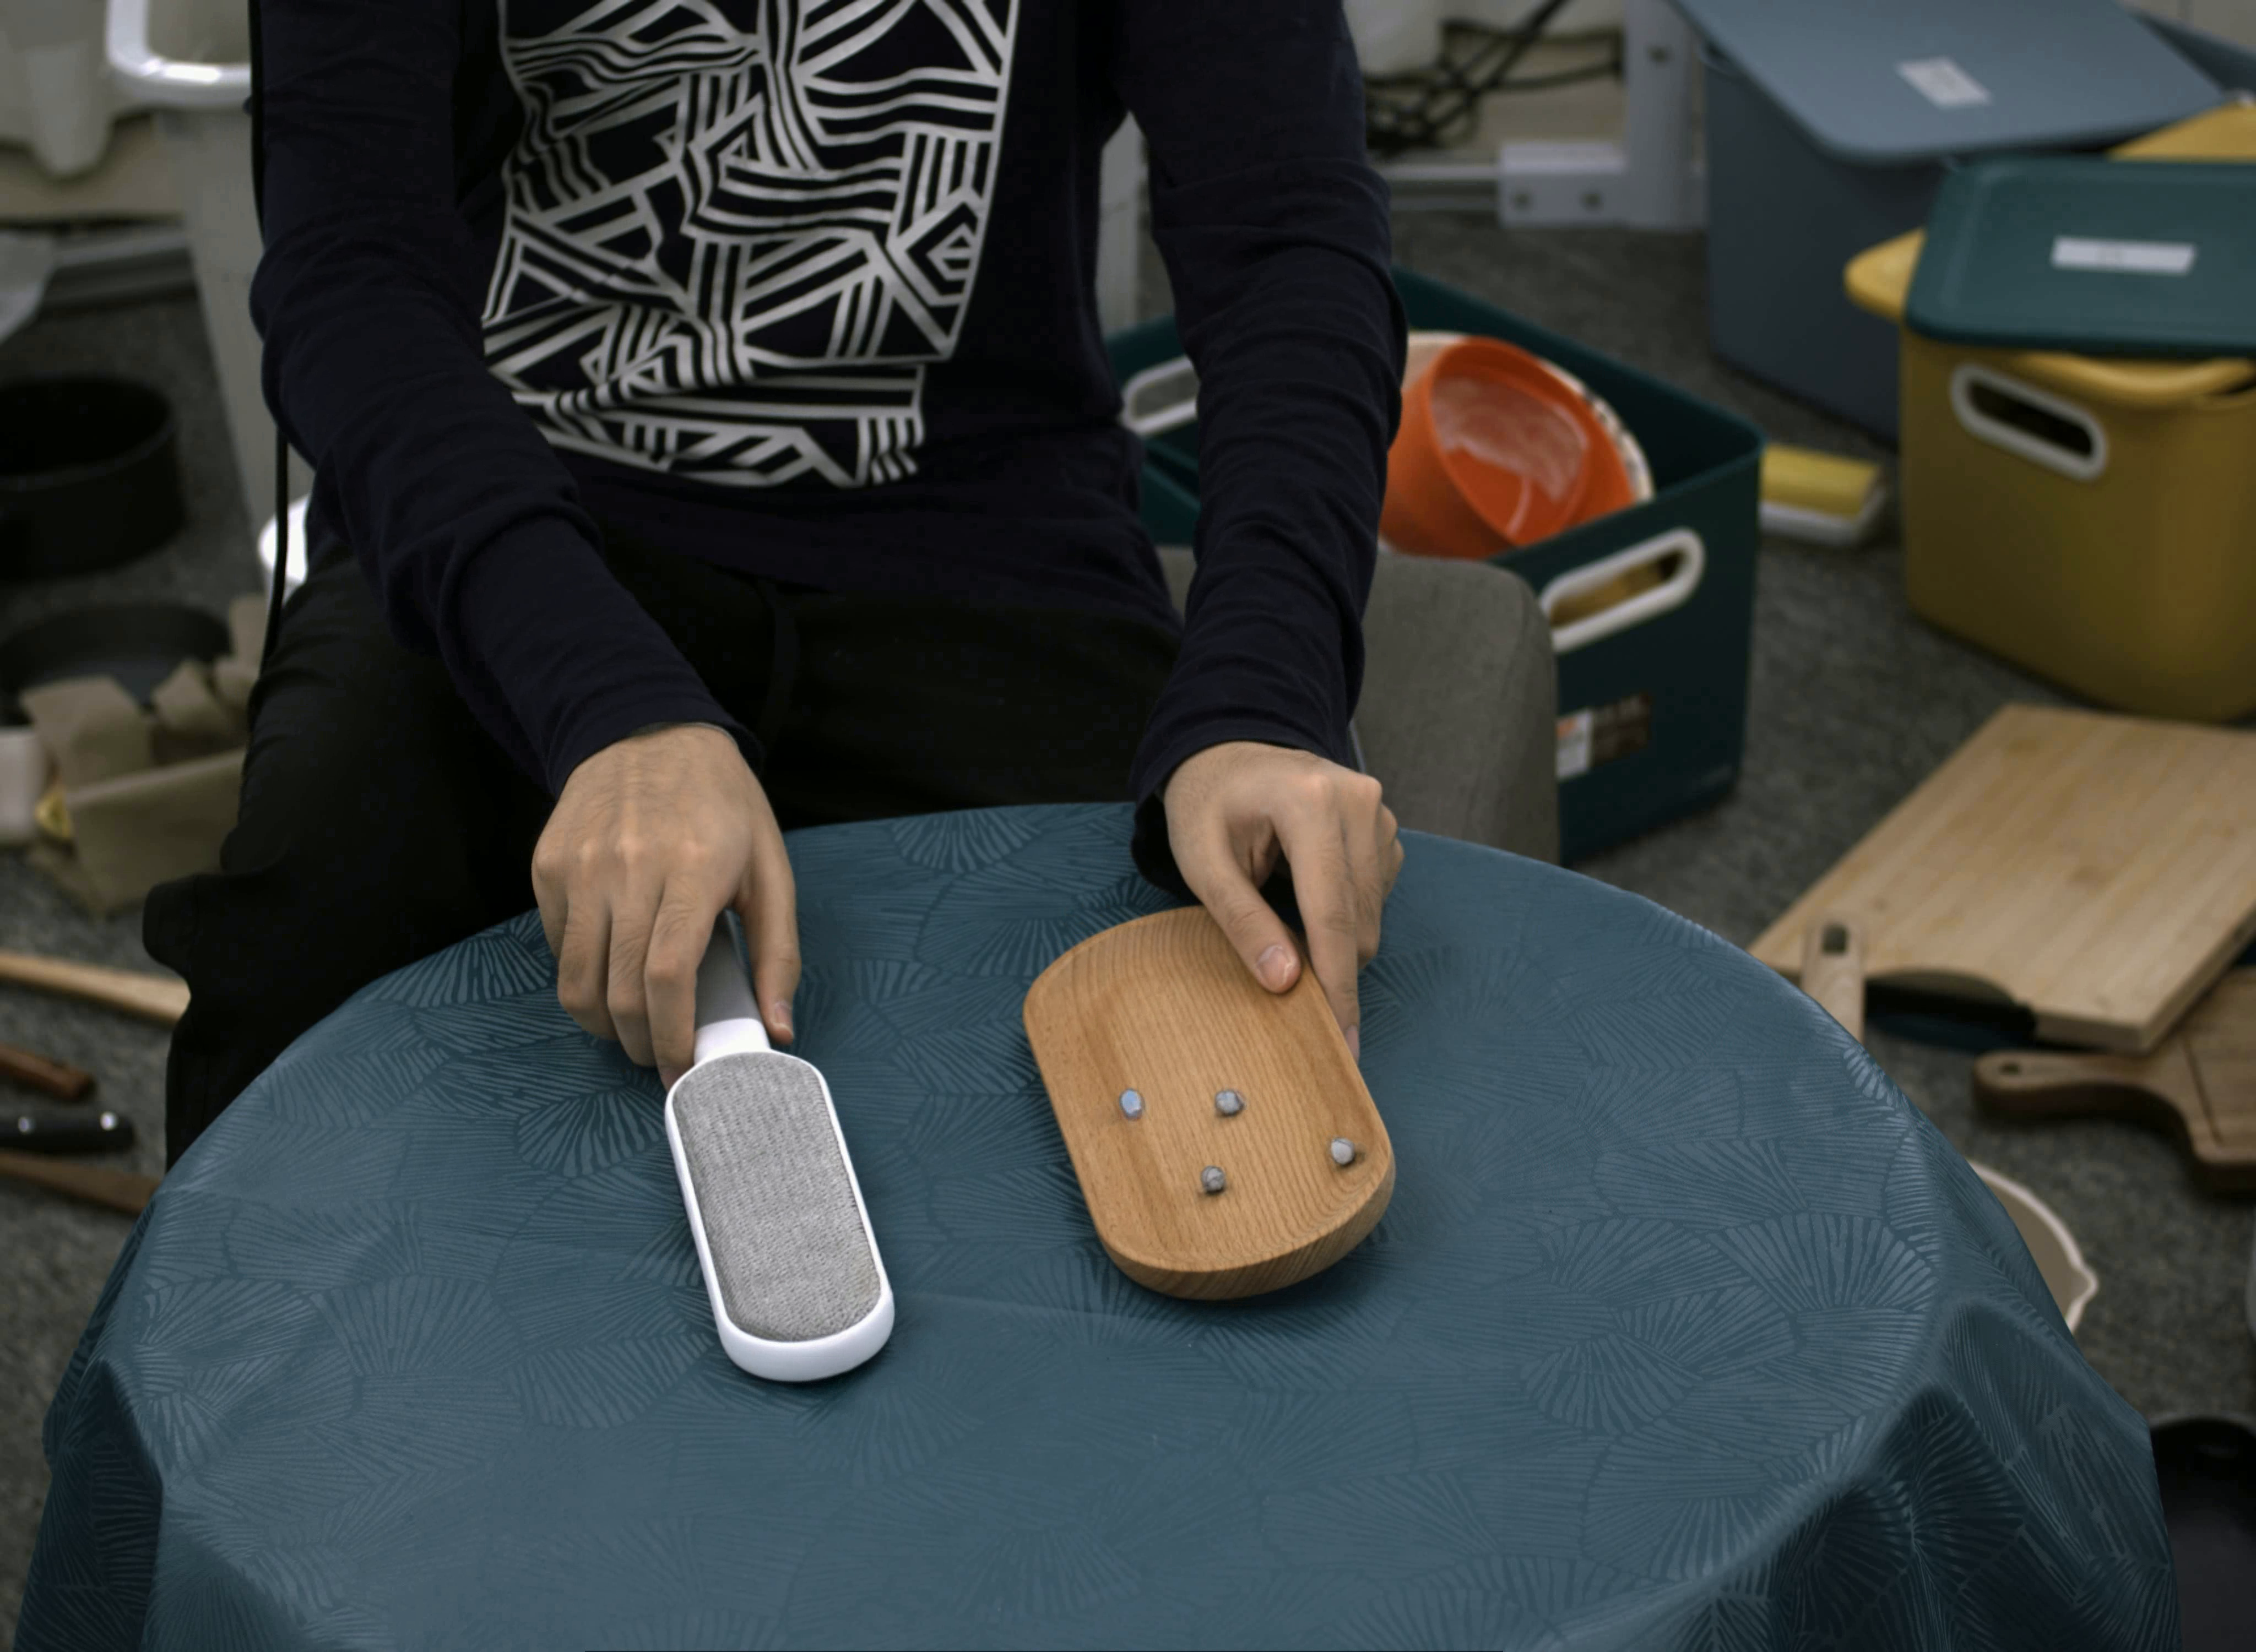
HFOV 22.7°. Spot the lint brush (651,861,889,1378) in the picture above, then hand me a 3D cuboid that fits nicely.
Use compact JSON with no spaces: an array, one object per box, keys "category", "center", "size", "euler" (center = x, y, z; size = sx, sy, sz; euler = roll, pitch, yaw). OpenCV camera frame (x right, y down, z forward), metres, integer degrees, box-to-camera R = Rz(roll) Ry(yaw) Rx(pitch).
[{"category":"lint brush","center":[-0.128,0.093,1.889],"size":[0.060,0.020,0.313],"euler":[-14,31,-5]}]

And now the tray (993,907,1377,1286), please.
[{"category":"tray","center":[0.018,0.089,1.887],"size":[0.101,0.020,0.233],"euler":[-14,27,-7]}]
